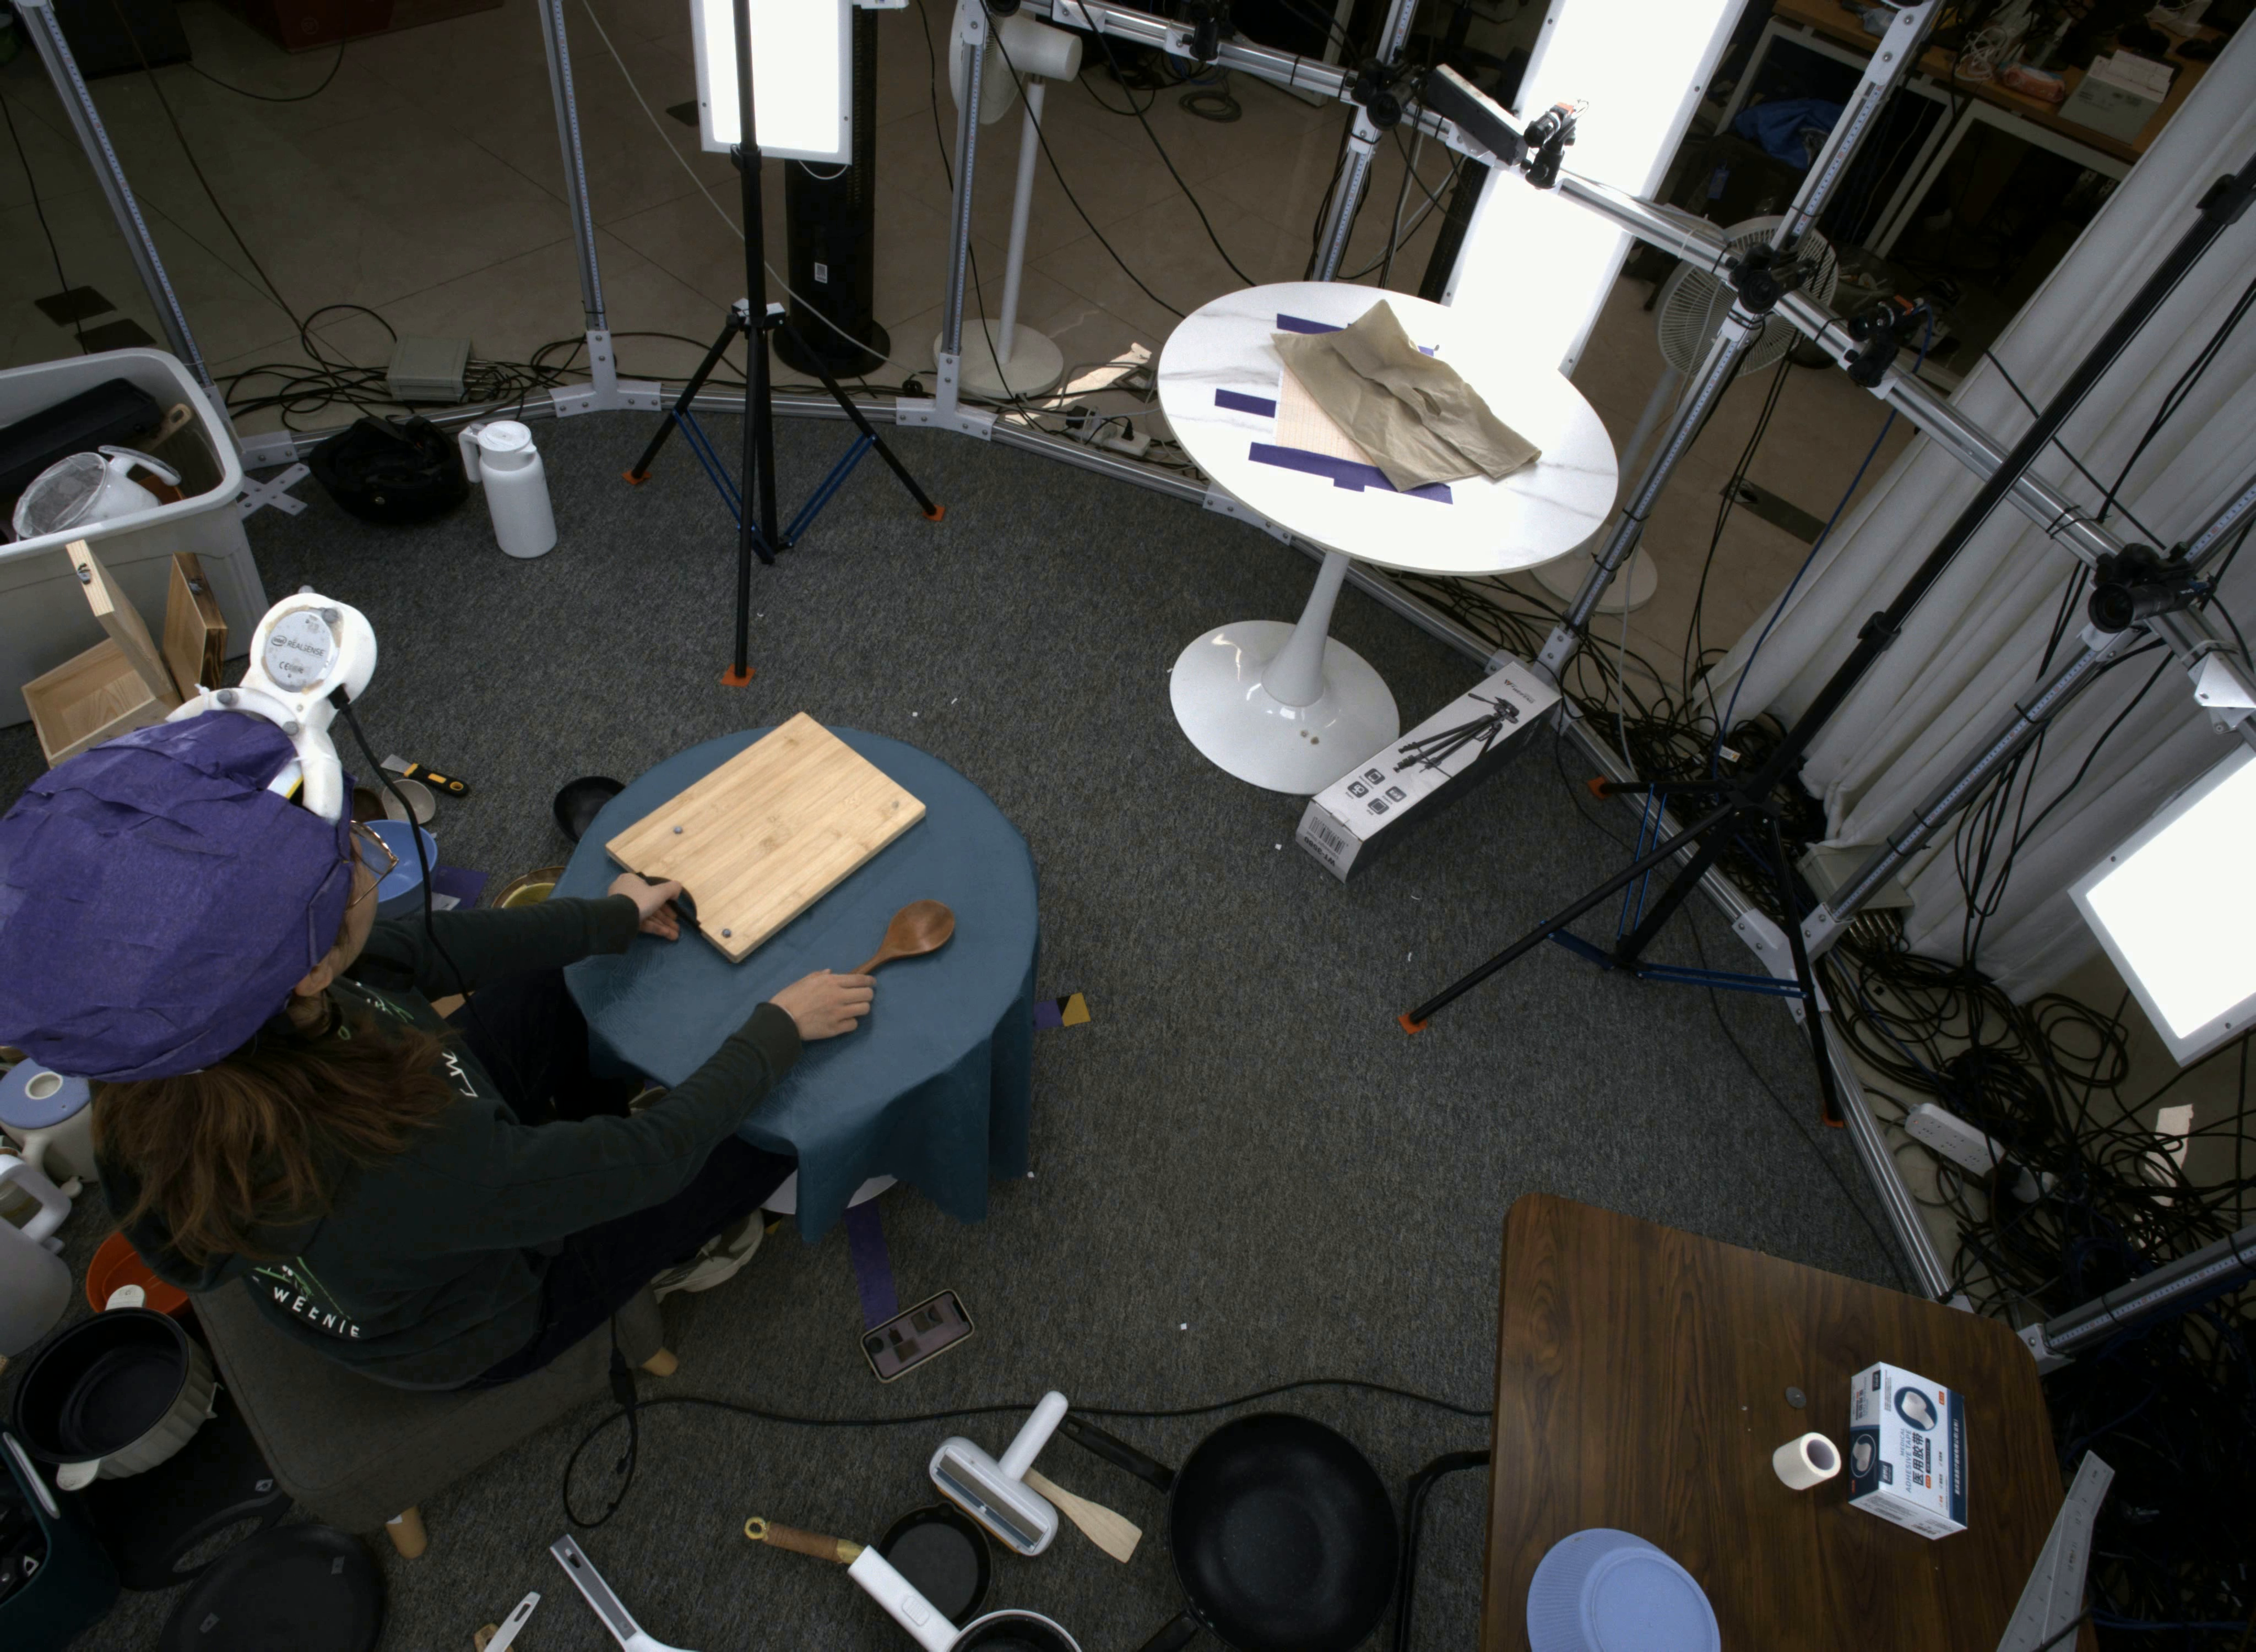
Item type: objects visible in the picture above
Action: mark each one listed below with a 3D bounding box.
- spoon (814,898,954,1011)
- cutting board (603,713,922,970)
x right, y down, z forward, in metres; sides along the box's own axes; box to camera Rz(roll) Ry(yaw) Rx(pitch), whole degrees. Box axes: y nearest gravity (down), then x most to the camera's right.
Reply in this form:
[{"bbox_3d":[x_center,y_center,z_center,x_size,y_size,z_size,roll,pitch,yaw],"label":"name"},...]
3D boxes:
[{"bbox_3d":[-0.306,0.161,1.628,0.074,0.017,0.216,41,54,15],"label":"spoon"},{"bbox_3d":[-0.473,0.008,1.697,0.246,0.024,0.348,36,53,13],"label":"cutting board"}]
